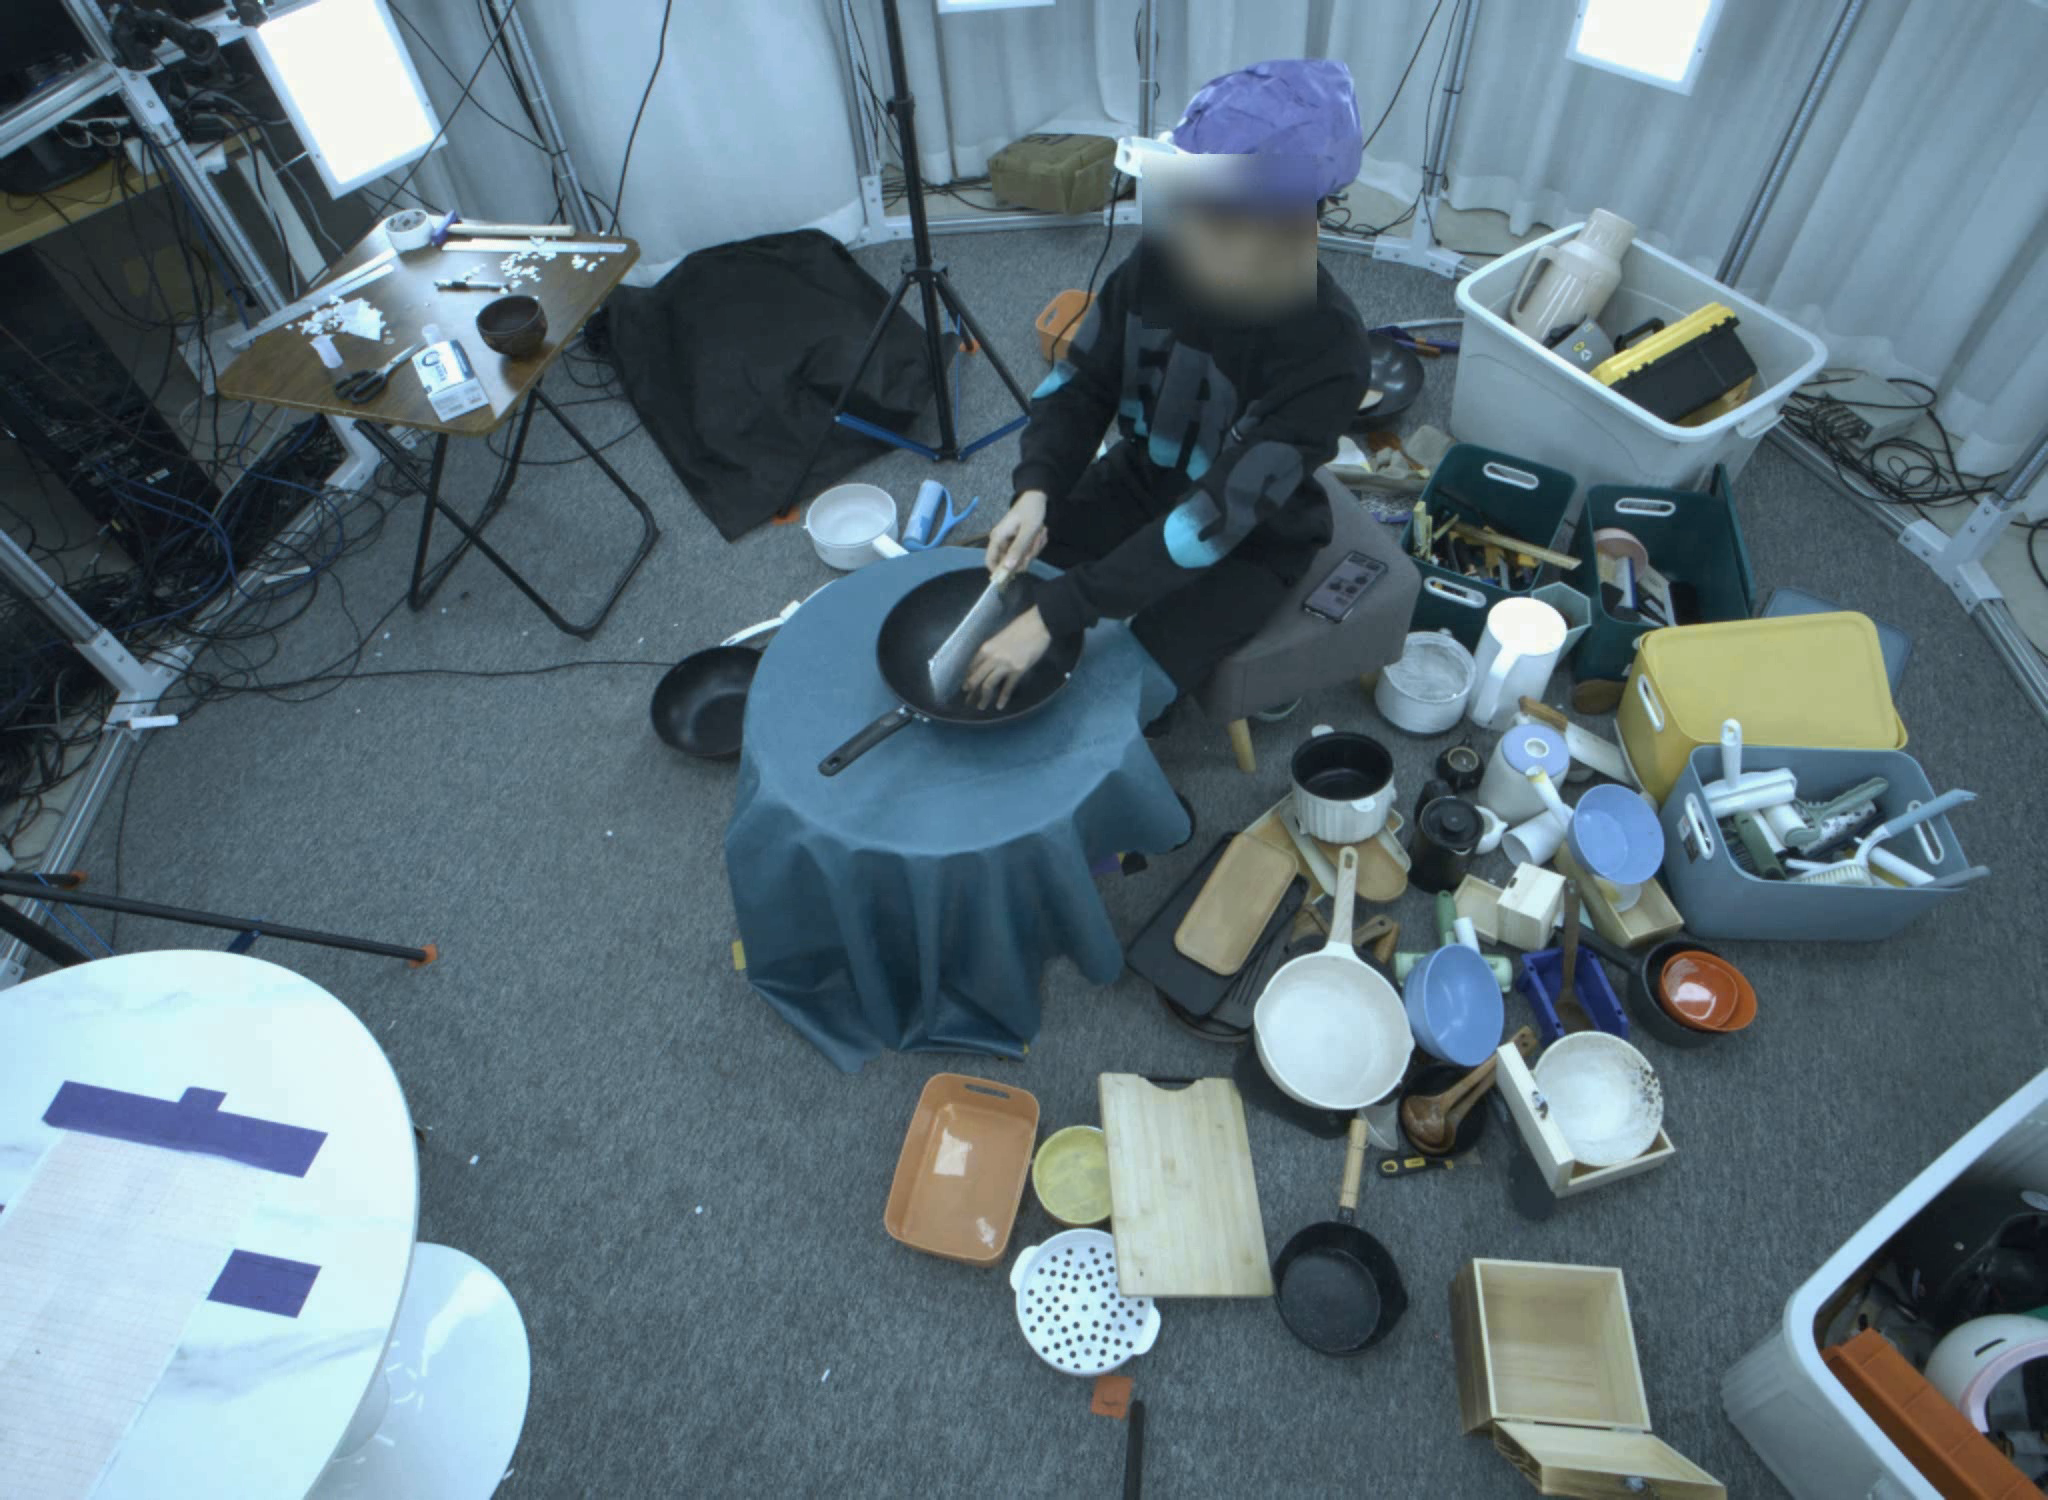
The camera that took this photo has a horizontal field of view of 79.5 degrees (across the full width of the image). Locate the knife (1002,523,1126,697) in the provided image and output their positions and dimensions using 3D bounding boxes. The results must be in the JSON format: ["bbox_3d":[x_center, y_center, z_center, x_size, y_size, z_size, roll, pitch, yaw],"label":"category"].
[{"bbox_3d":[0.057,-0.214,1.822,0.021,0.115,0.316,31,75,19],"label":"knife"}]

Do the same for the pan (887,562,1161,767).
[{"bbox_3d":[-0.011,-0.097,1.791,0.304,0.113,0.480,36,63,26],"label":"pan"}]
